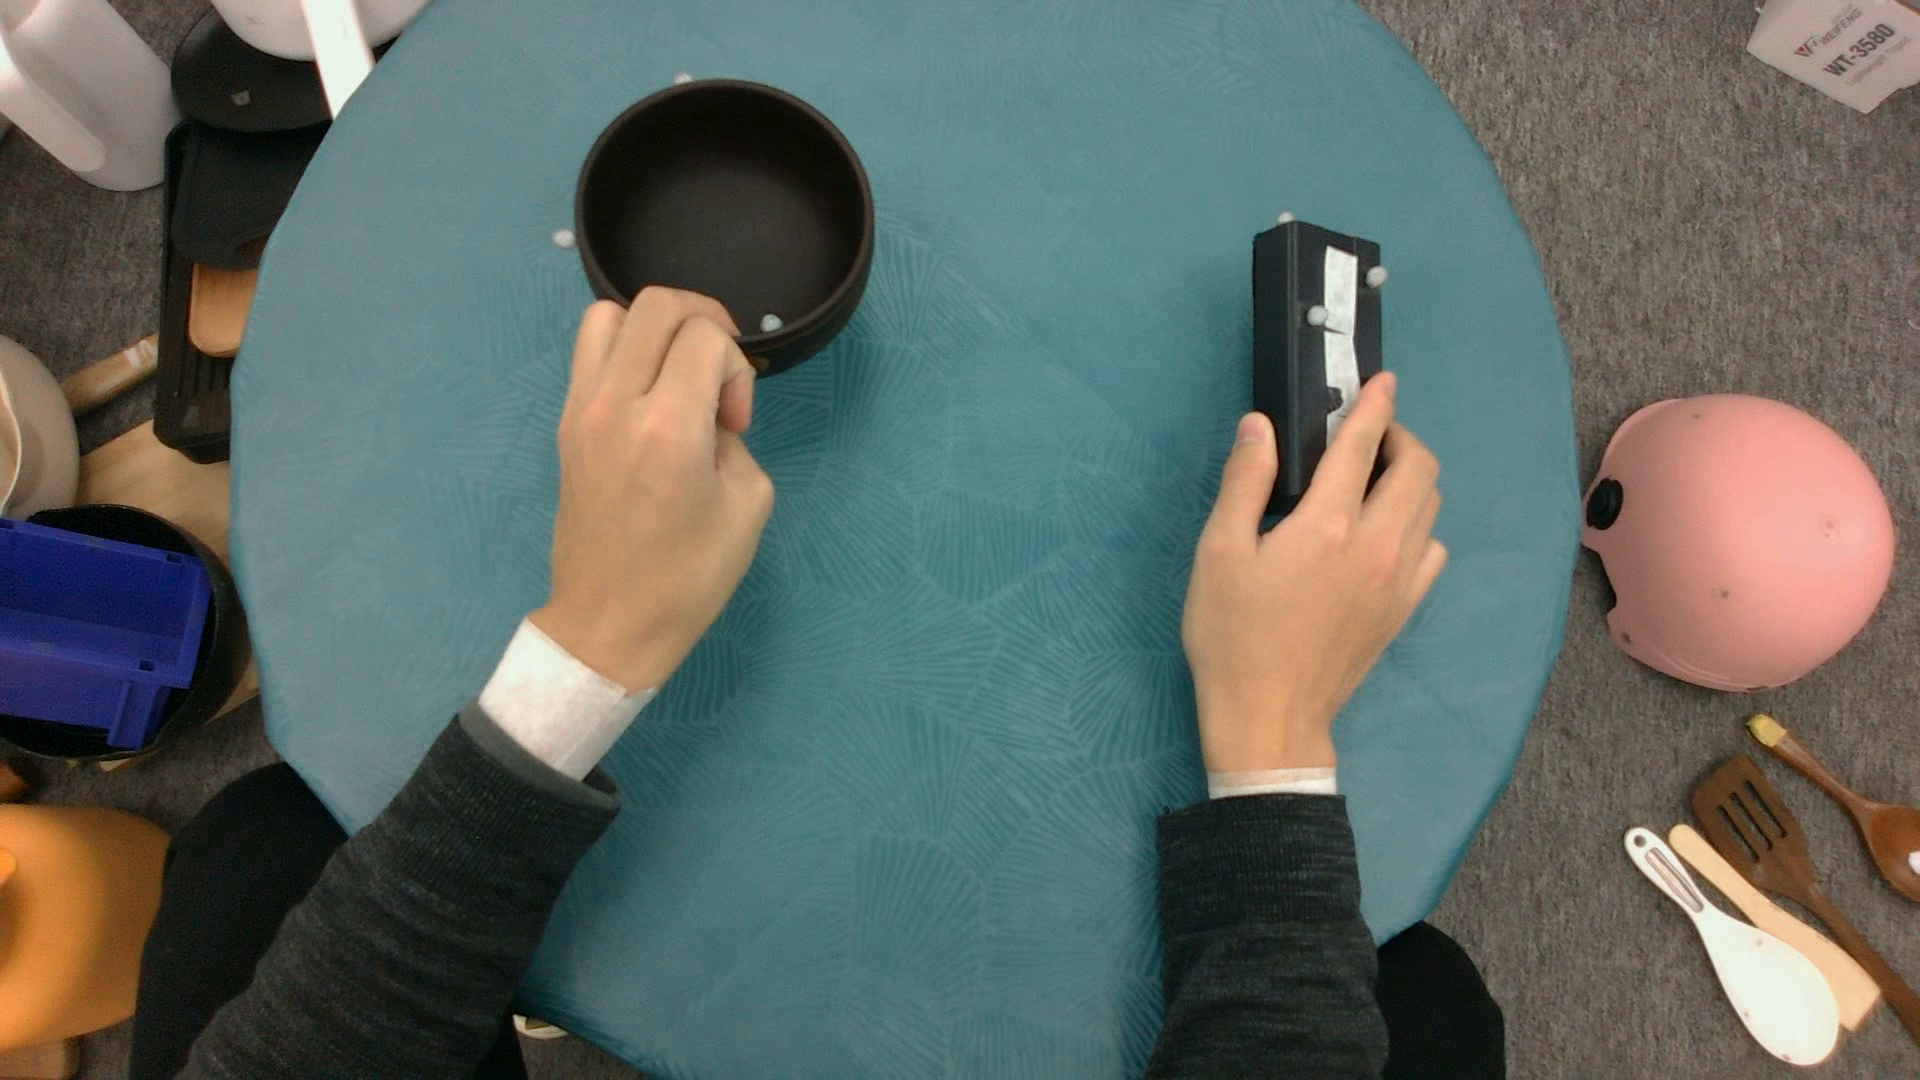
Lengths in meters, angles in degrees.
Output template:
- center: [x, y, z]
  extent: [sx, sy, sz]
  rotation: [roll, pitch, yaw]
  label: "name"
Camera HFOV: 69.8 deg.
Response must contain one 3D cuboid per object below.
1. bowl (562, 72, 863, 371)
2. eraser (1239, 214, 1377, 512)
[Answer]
- center: [-0.100, -0.123, 0.566]
  extent: [0.118, 0.069, 0.118]
  rotation: [3, 72, -10]
  label: "bowl"
- center: [0.149, -0.076, 0.593]
  extent: [0.053, 0.030, 0.126]
  rotation: [7, 76, -24]
  label: "eraser"
